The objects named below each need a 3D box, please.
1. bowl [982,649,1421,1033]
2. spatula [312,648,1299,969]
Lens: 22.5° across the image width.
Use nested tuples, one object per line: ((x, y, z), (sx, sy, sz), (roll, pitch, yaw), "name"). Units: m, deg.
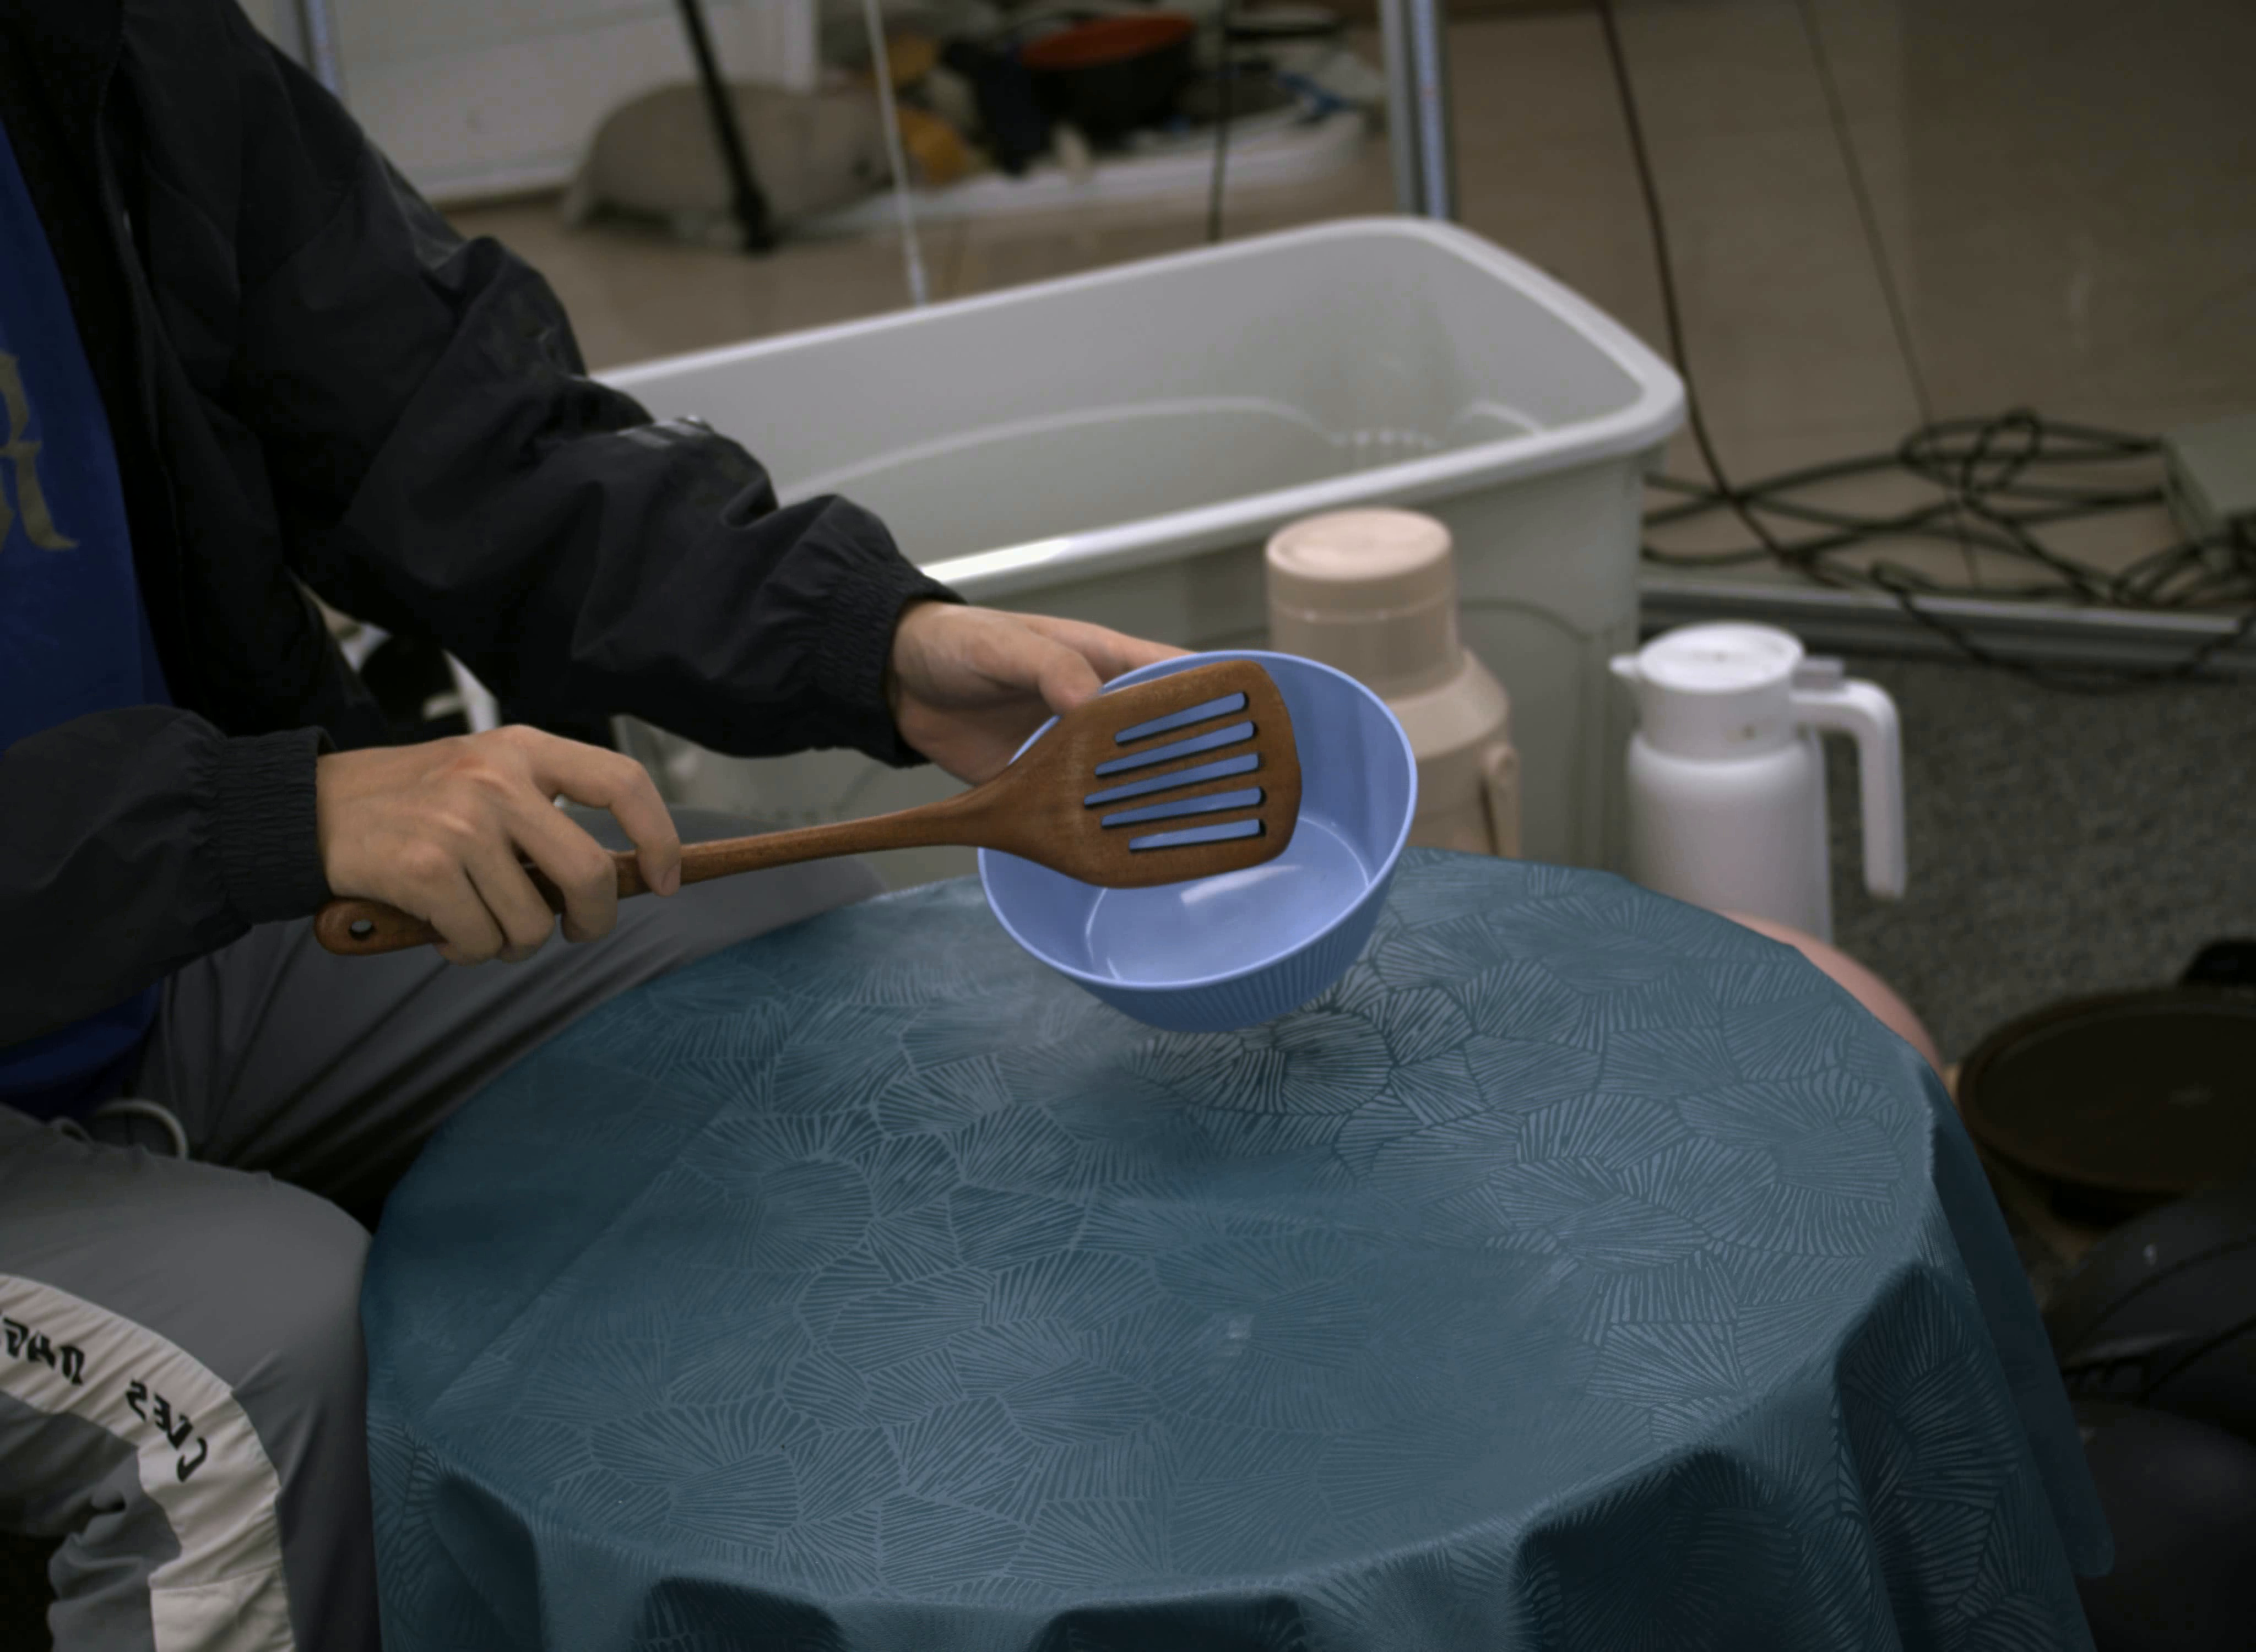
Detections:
((0.035, 0.016, 2.217), (0.176, 0.071, 0.173), (-10, 47, 11), "bowl")
((-0.120, 0.006, 2.165), (0.386, 0.086, 0.024), (-11, 16, -8), "spatula")
